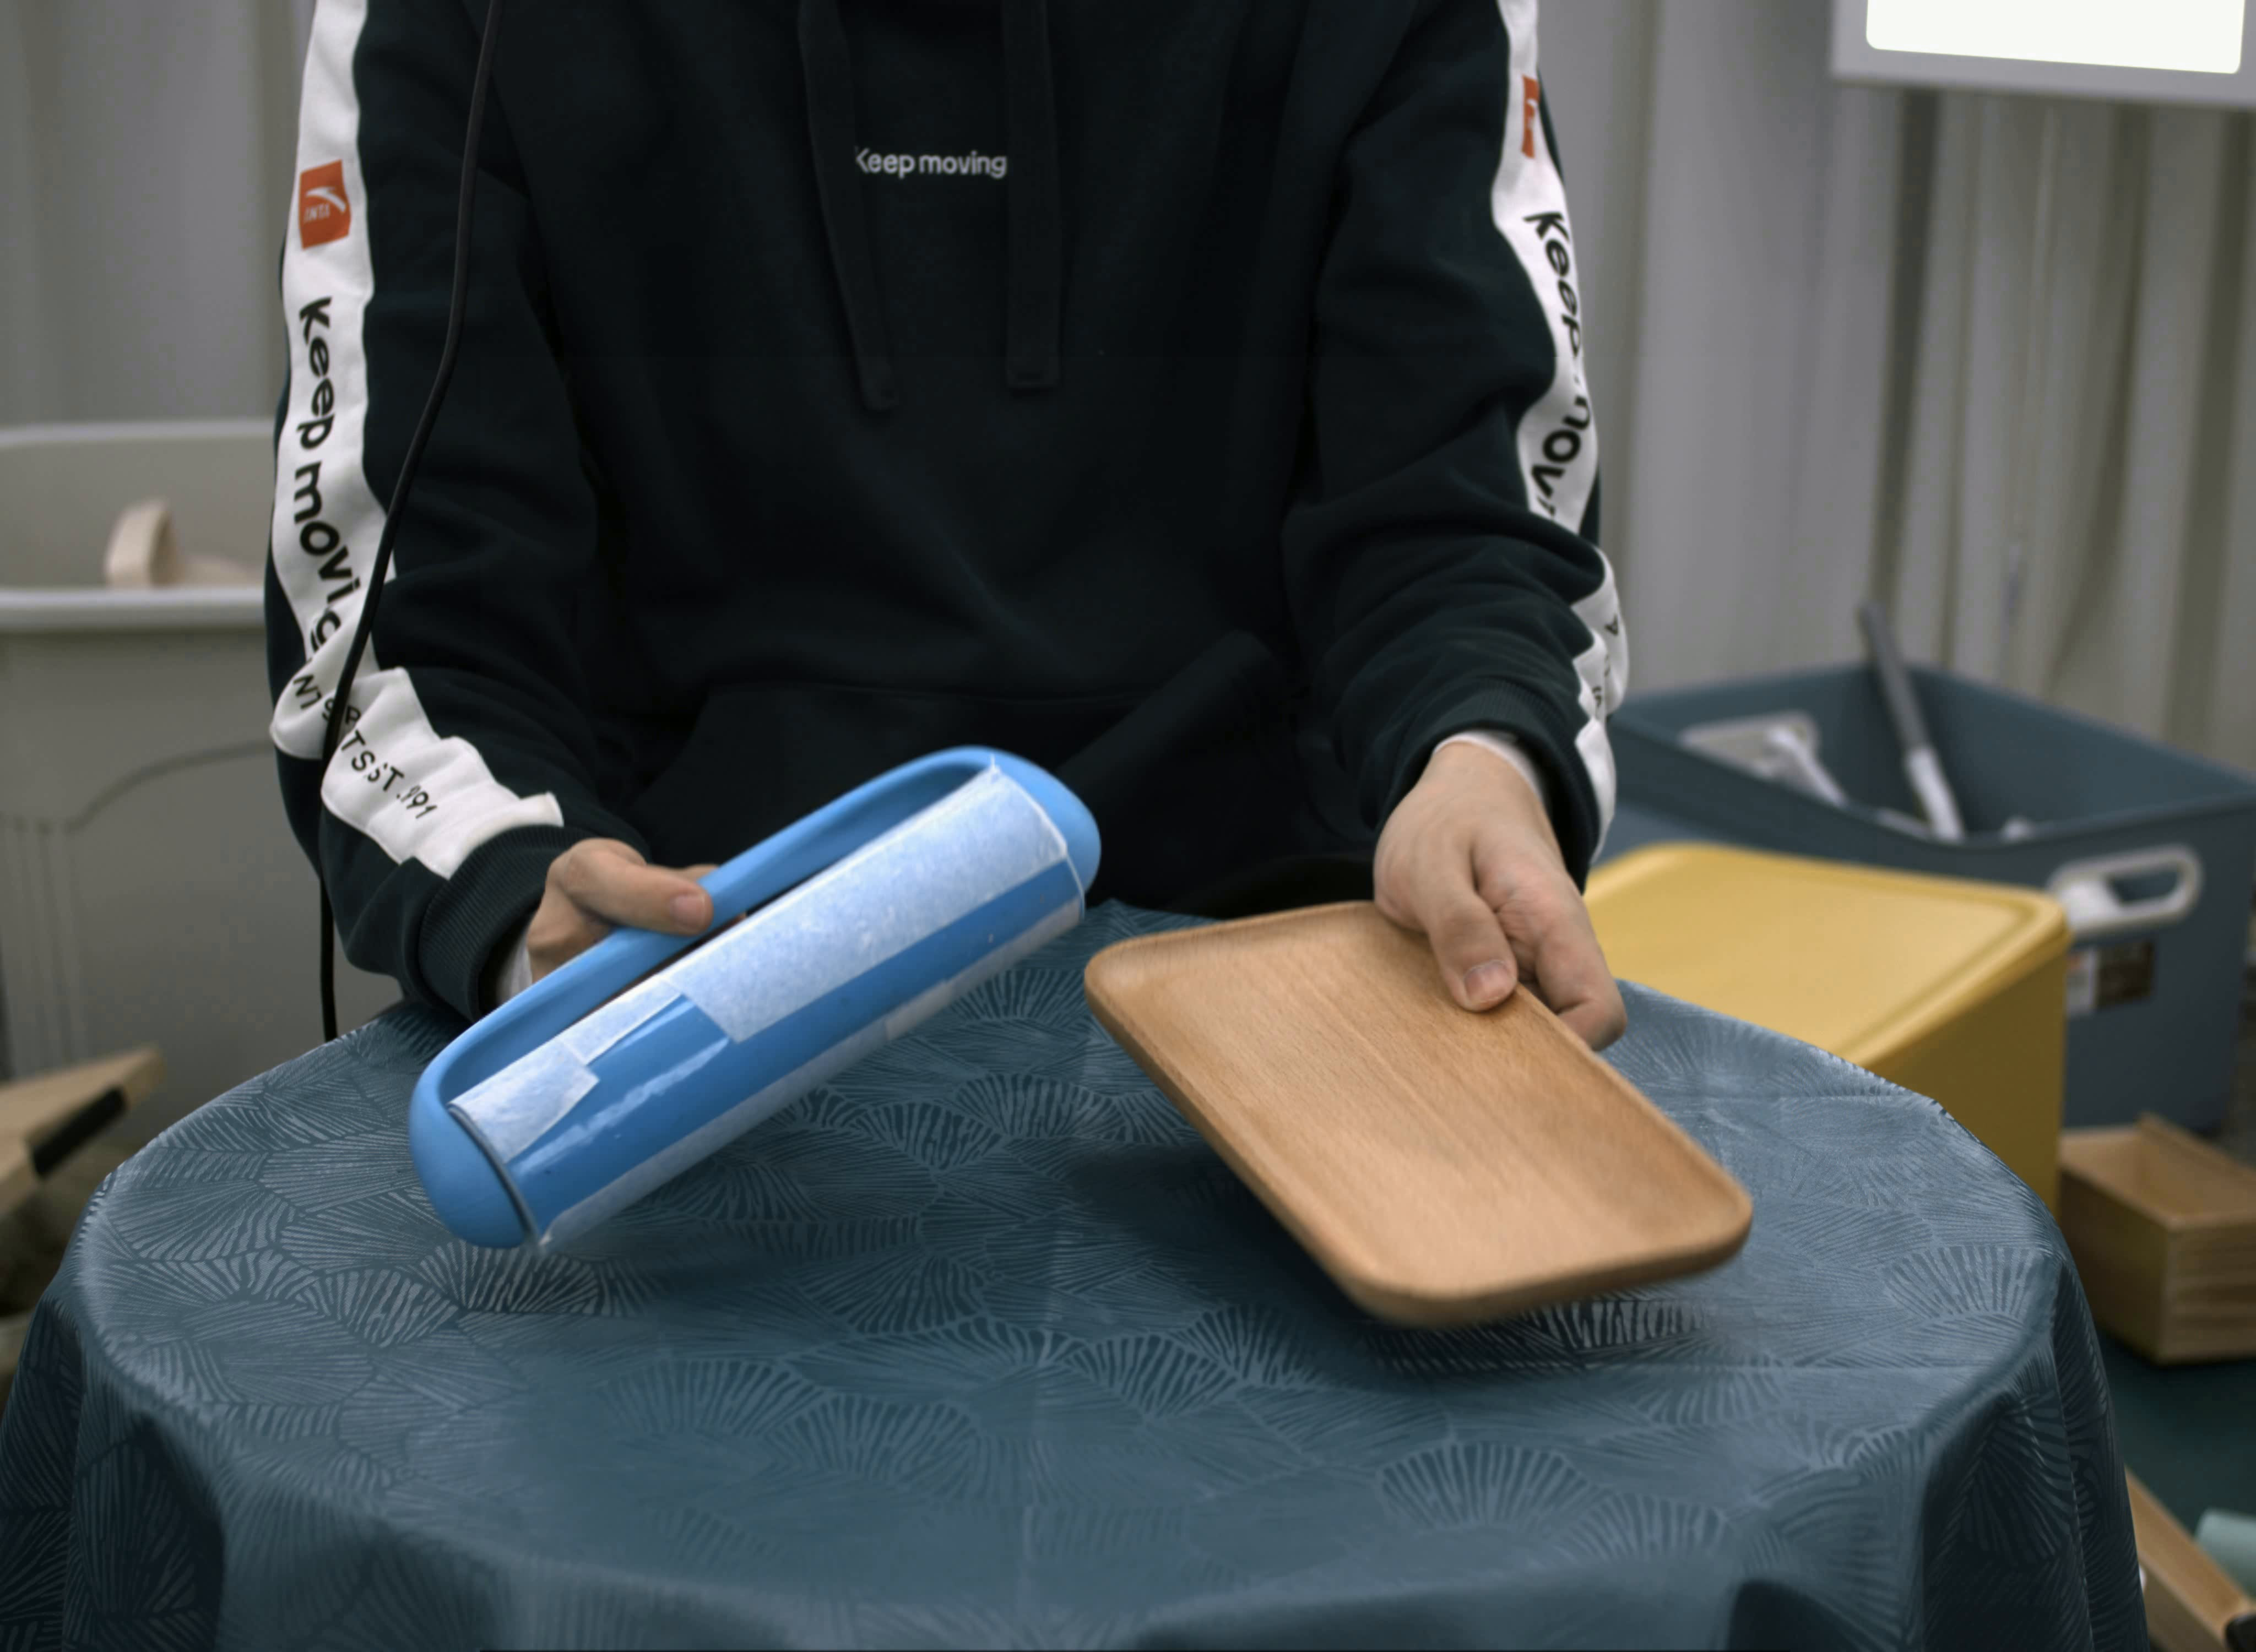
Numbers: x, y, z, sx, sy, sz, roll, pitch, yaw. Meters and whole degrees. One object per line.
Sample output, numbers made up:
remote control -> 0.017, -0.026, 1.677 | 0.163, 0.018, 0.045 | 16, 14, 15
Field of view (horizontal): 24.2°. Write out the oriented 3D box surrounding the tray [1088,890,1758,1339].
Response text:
tray -> 0.083, 0.082, 1.571 | 0.131, 0.023, 0.247 | -5, 25, -21

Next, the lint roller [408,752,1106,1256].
lint roller -> -0.127, 0.052, 1.591 | 0.229, 0.068, 0.179 | -33, 12, -19
